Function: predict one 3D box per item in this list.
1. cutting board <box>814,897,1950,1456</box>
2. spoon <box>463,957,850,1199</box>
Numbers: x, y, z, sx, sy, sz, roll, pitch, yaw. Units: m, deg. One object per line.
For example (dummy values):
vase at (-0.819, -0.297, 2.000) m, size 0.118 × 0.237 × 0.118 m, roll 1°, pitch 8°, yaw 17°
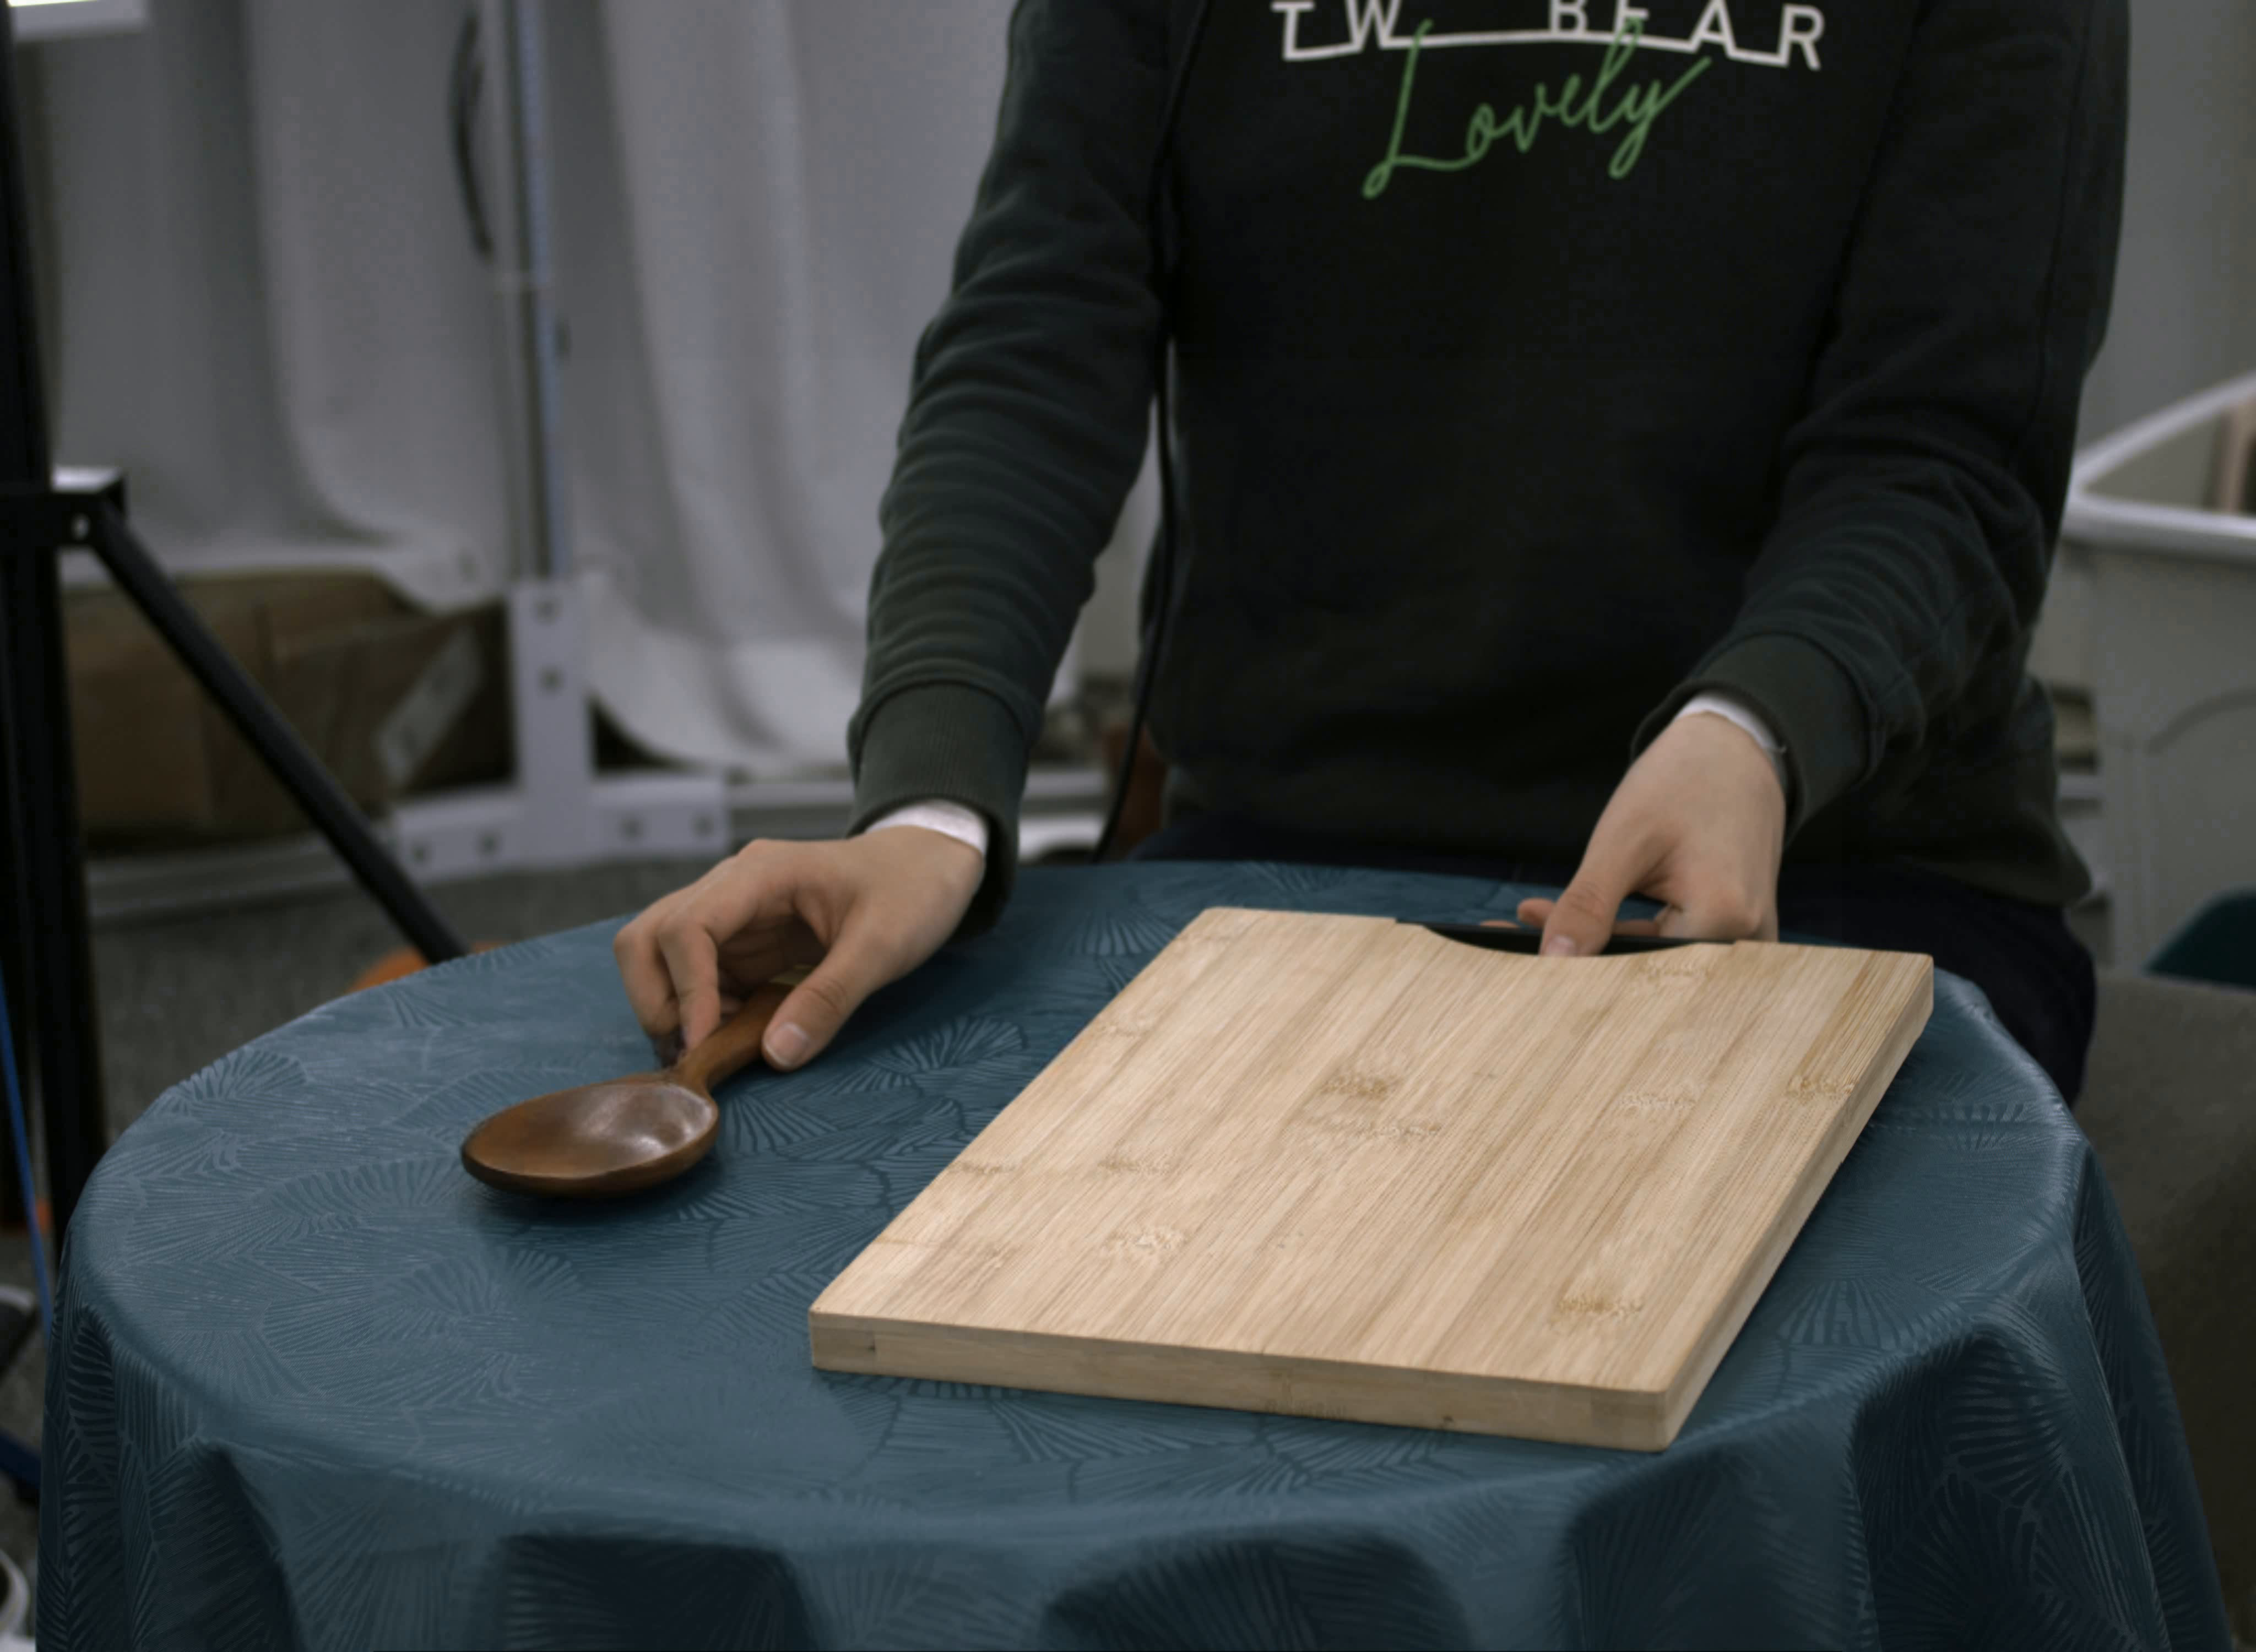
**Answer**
cutting board at (0.085, 0.093, 1.542) m, size 0.253 × 0.023 × 0.345 m, roll 4°, pitch 19°, yaw 19°
spoon at (-0.136, 0.079, 1.648) m, size 0.076 × 0.017 × 0.213 m, roll 1°, pitch 16°, yaw 22°
